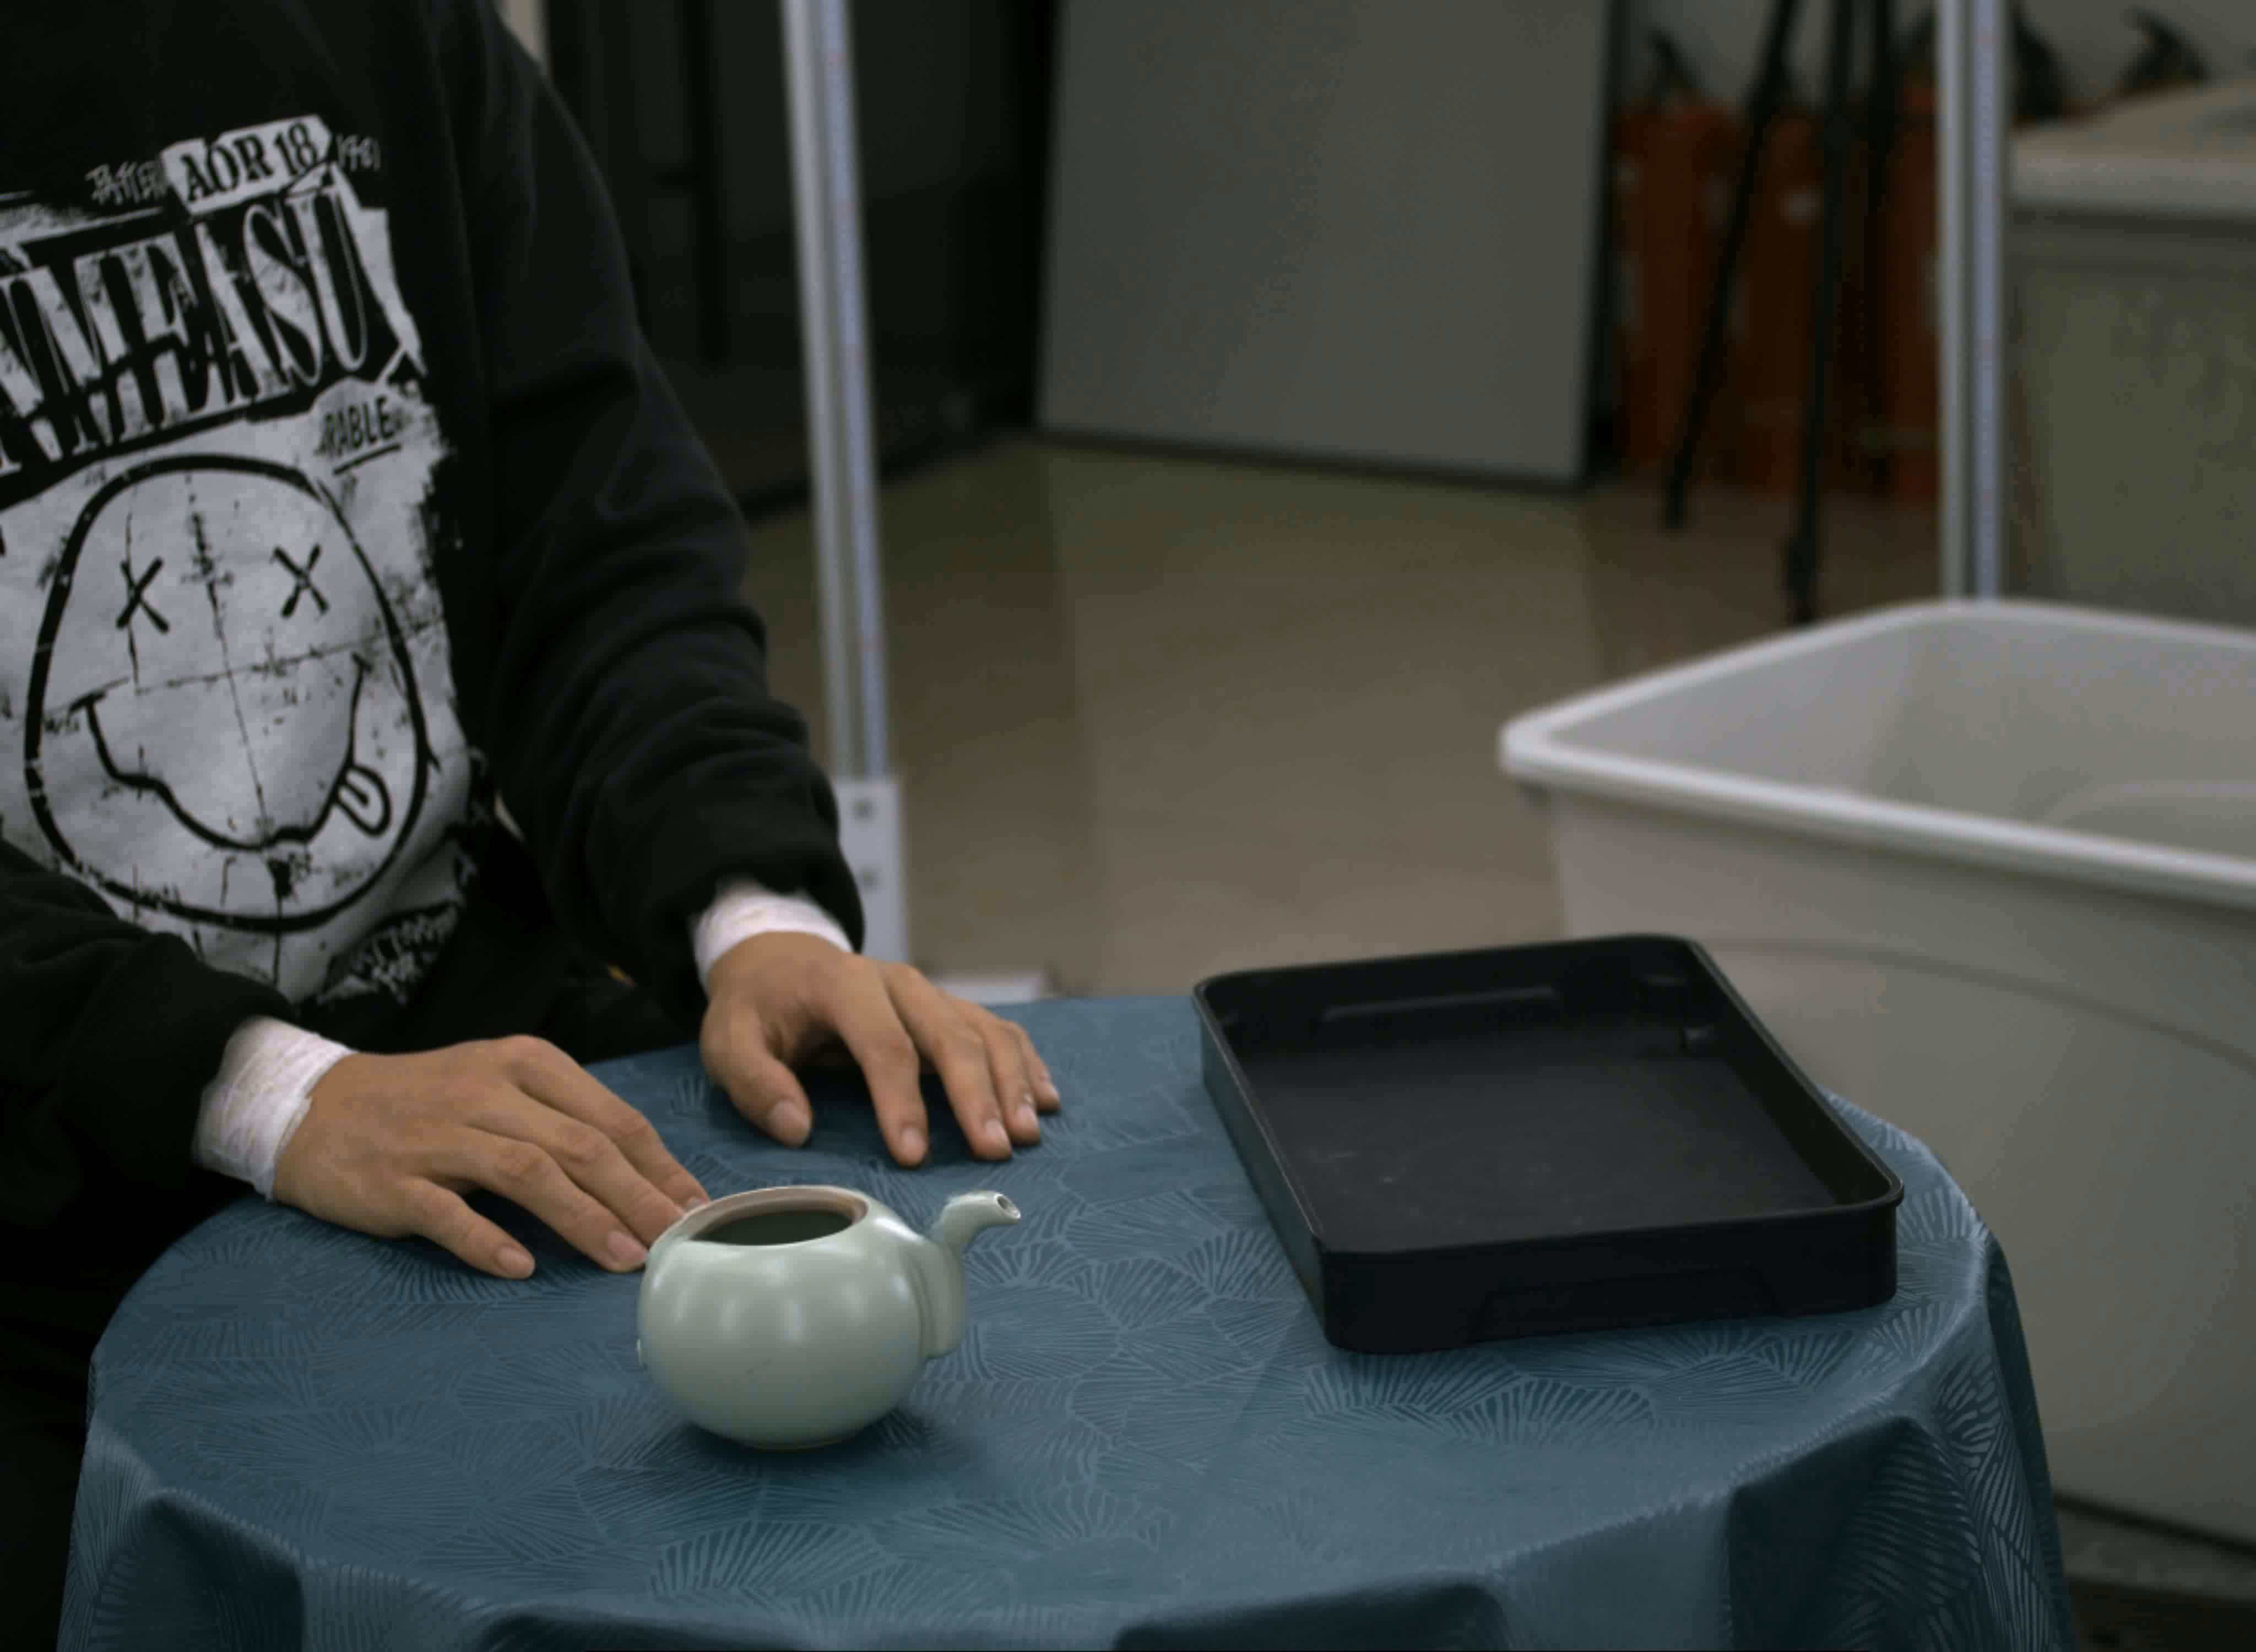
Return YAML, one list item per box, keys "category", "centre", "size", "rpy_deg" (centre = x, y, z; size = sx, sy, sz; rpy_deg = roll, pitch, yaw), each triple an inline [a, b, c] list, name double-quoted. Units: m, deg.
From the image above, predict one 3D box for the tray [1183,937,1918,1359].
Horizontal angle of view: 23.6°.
- category: "tray"
  centre: [0.129, 0.099, 1.748]
  size: [0.181, 0.037, 0.319]
  rpy_deg: [-6, 14, -7]

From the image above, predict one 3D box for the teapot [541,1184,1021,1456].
- category: "teapot"
  centre: [-0.100, 0.141, 1.571]
  size: [0.143, 0.075, 0.088]
  rpy_deg: [0, 14, 11]
